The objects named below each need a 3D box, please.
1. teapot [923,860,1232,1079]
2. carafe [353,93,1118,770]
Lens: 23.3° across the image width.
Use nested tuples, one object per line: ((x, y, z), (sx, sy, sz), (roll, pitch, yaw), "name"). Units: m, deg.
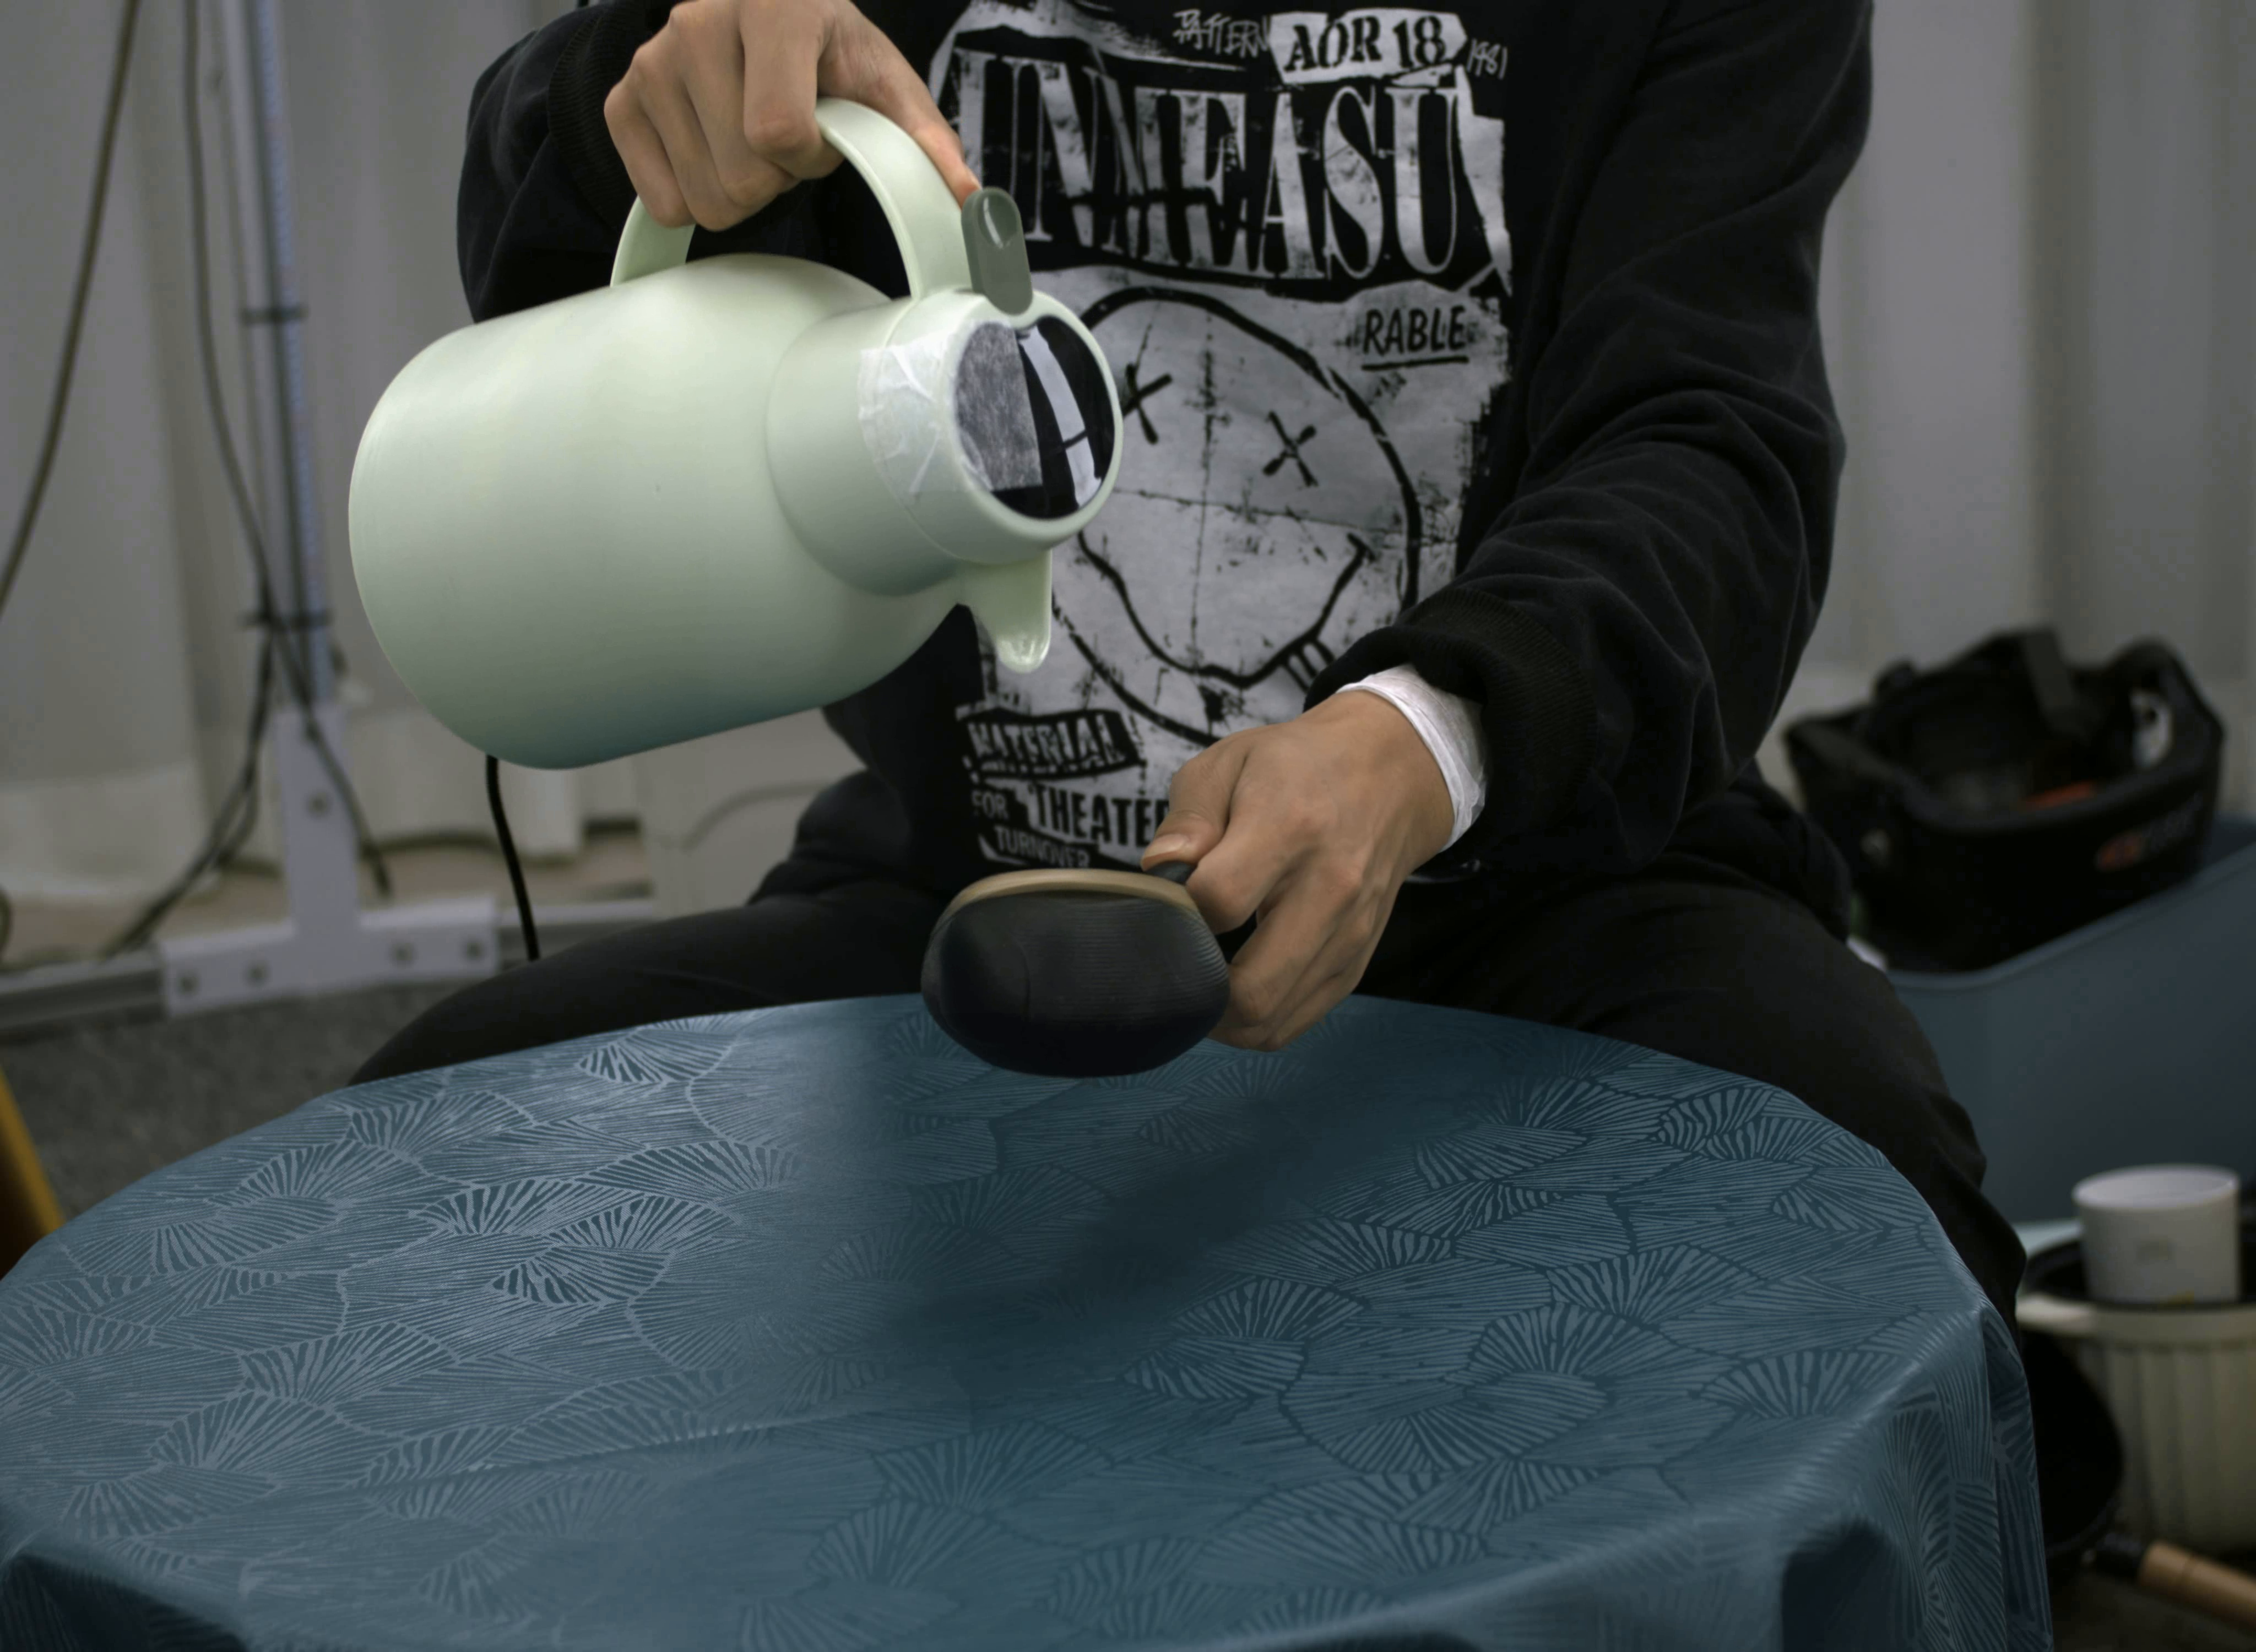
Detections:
((-0.014, 0.042, 1.600), (0.091, 0.053, 0.133), (10, 13, 35), "teapot")
((-0.117, -0.120, 1.676), (0.144, 0.187, 0.256), (-11, -4, -44), "carafe")
